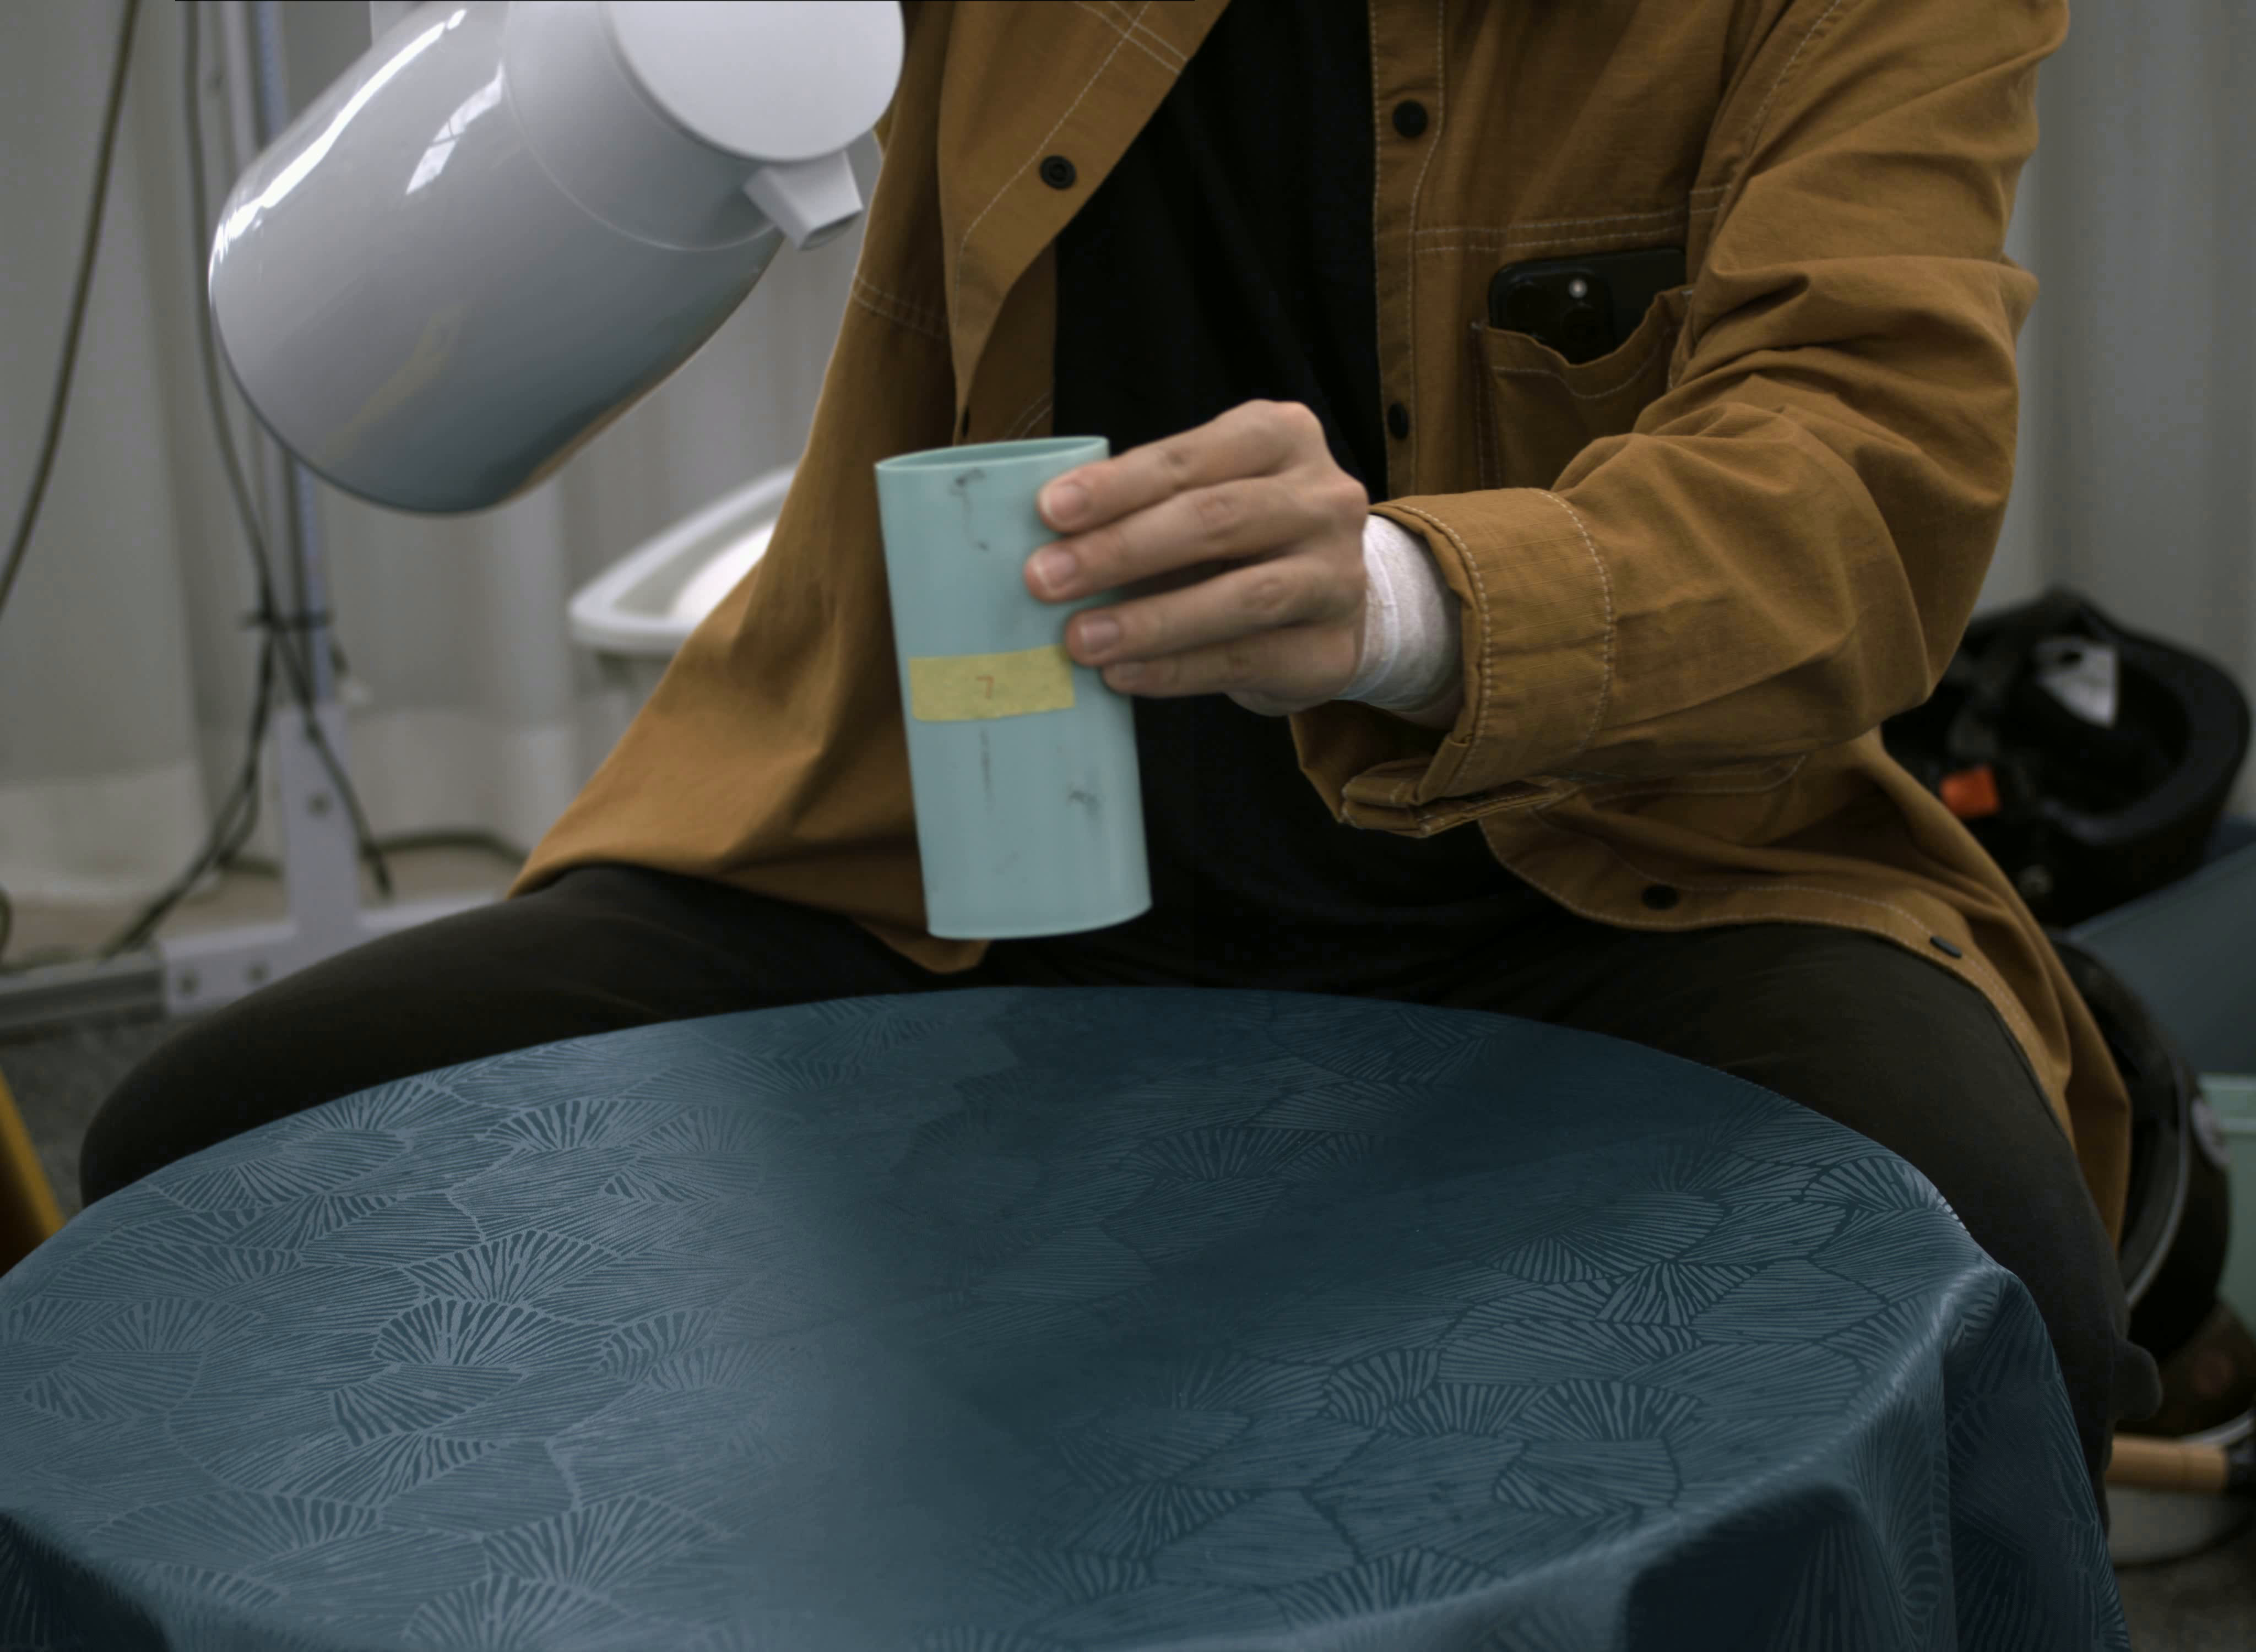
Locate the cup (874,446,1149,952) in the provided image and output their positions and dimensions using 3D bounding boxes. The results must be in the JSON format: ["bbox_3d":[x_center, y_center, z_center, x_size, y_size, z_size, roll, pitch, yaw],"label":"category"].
[{"bbox_3d":[-0.031,-0.036,1.507,0.066,0.132,0.067,-5,7,0],"label":"cup"}]

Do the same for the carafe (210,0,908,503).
[{"bbox_3d":[-0.168,-0.210,1.585,0.132,0.168,0.248,-28,0,-35],"label":"carafe"}]
